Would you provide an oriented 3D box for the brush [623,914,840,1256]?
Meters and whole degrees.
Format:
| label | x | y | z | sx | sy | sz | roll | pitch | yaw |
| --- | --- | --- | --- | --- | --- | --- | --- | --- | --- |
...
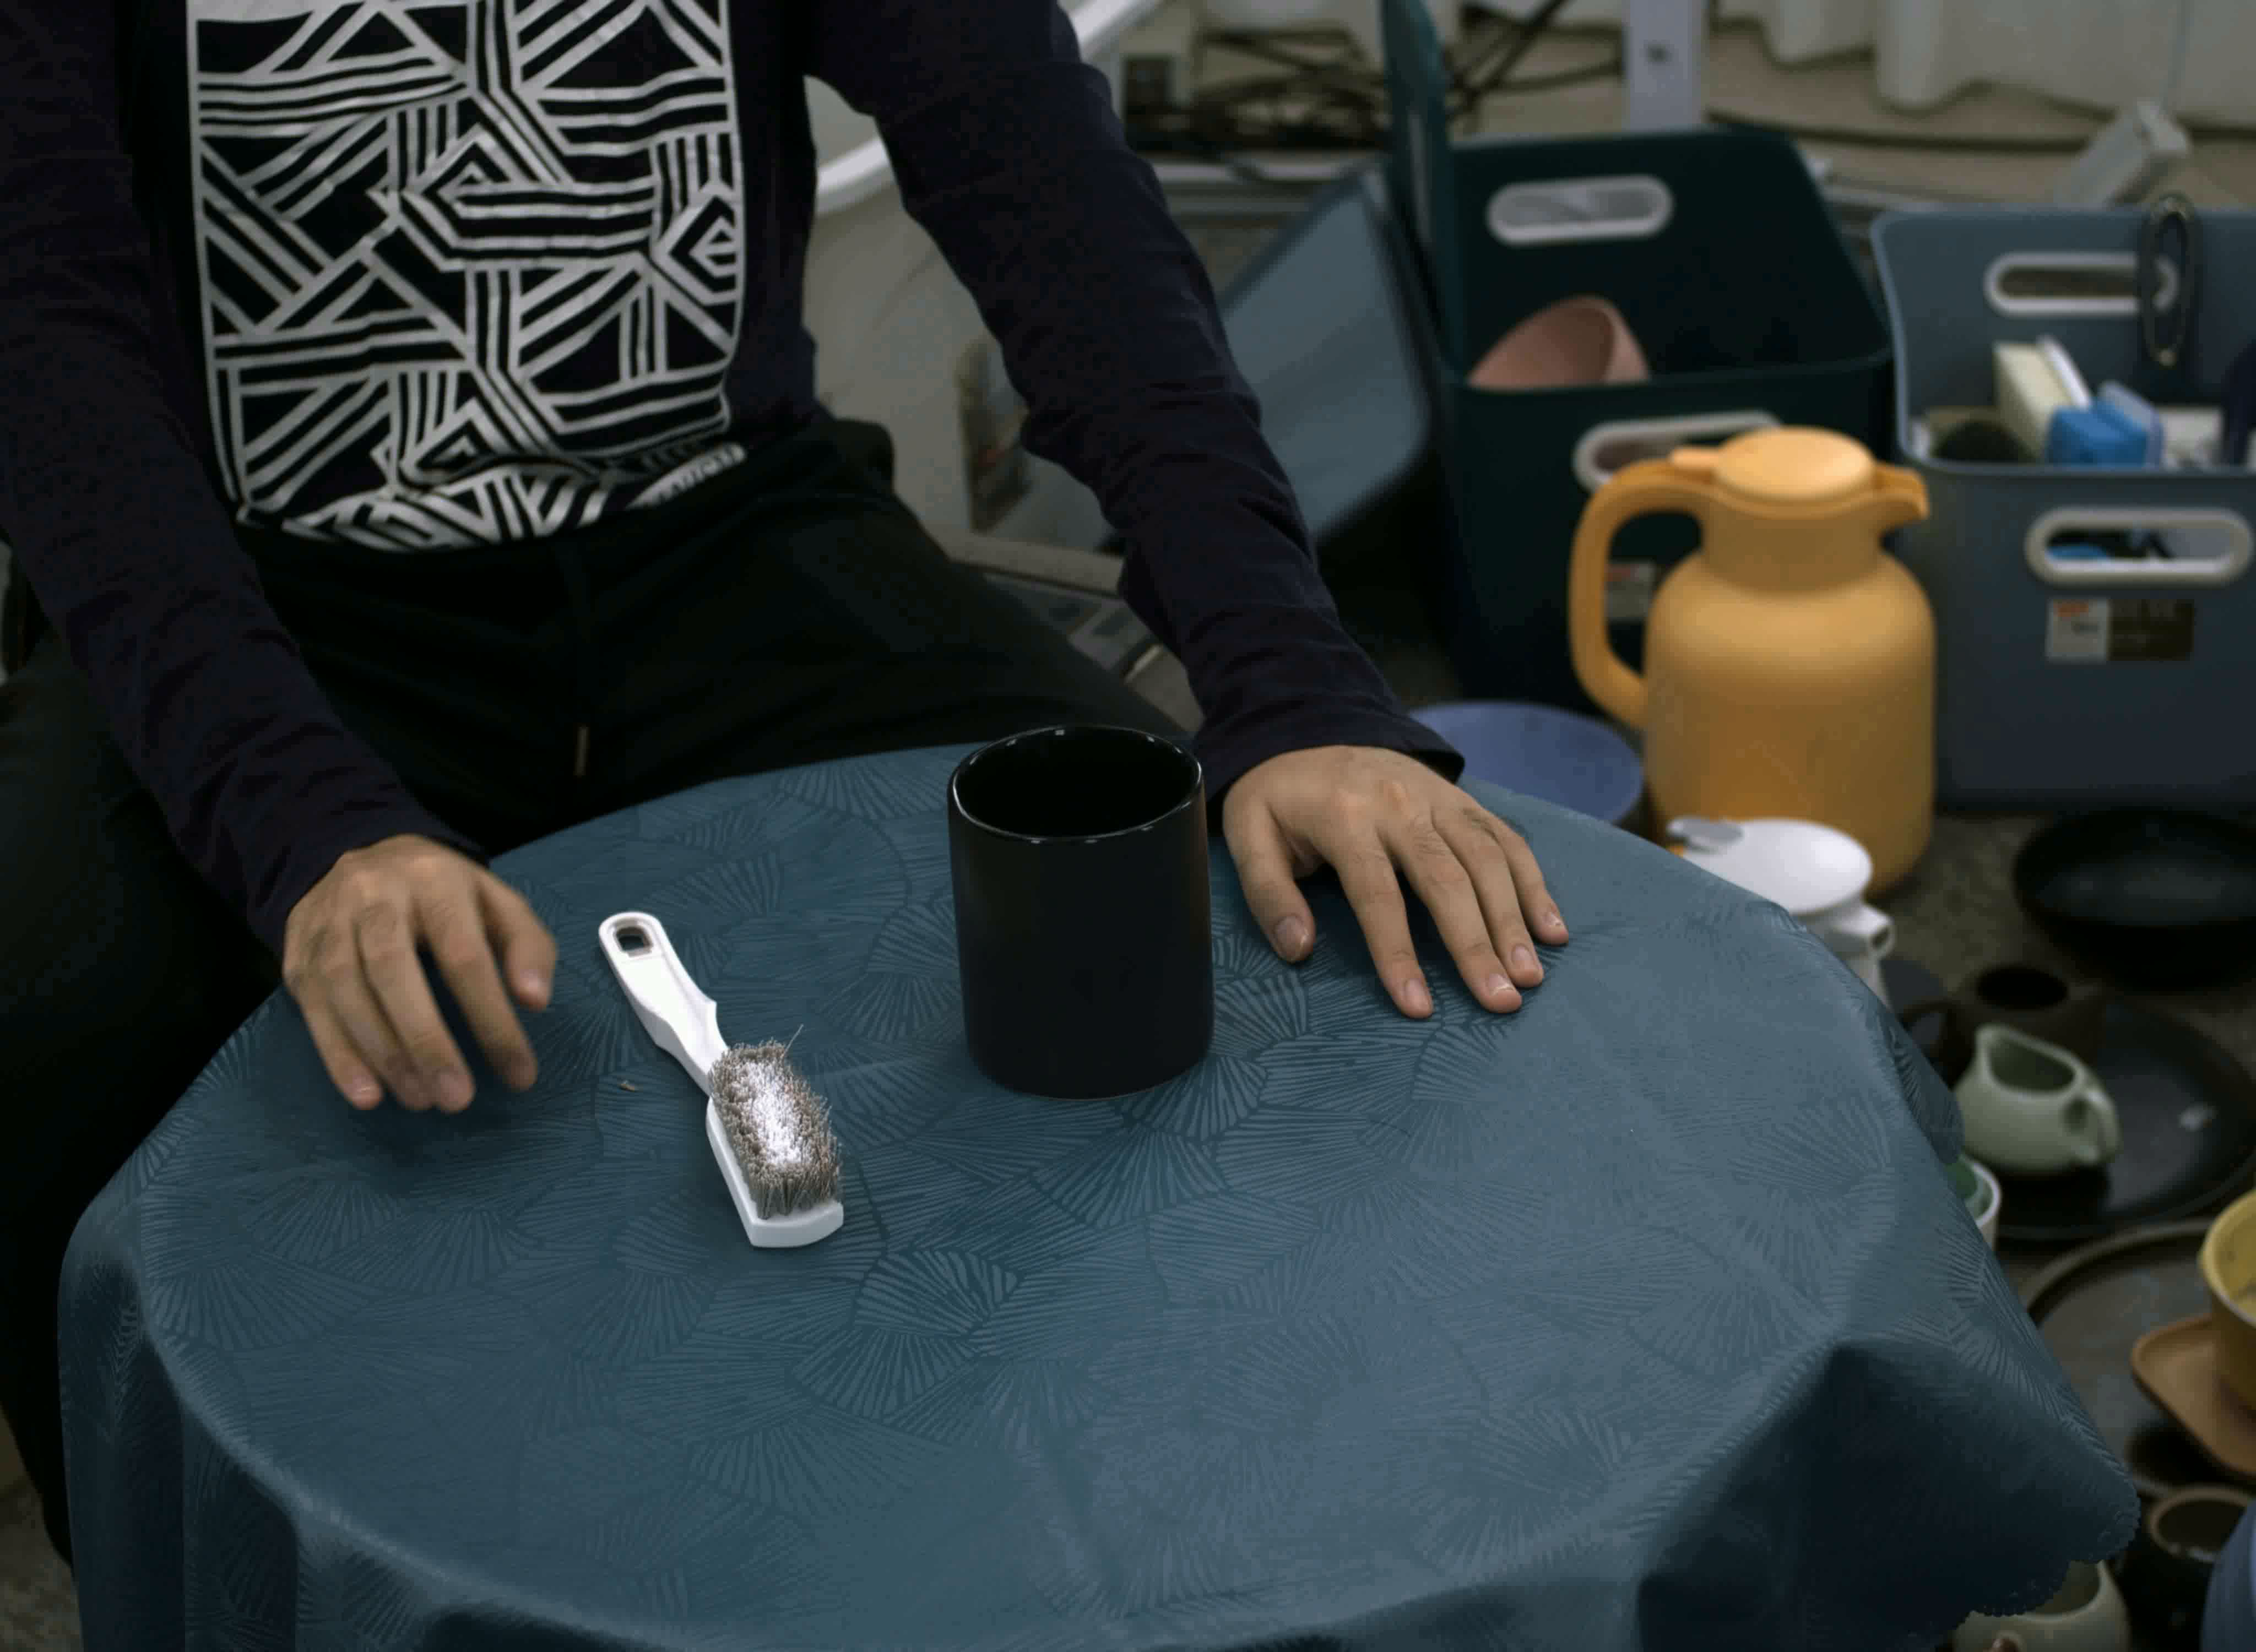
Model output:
| label | x | y | z | sx | sy | sz | roll | pitch | yaw |
| --- | --- | --- | --- | --- | --- | --- | --- | --- | --- |
| brush | -0.142 | 0.071 | 1.921 | 0.034 | 0.050 | 0.246 | -14 | 29 | -11 |

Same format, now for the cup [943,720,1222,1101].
| label | x | y | z | sx | sy | sz | roll | pitch | yaw |
| --- | --- | --- | --- | --- | --- | --- | --- | --- | --- |
| cup | -0.020 | 0.022 | 1.944 | 0.088 | 0.104 | 0.125 | -11 | 26 | -11 |
